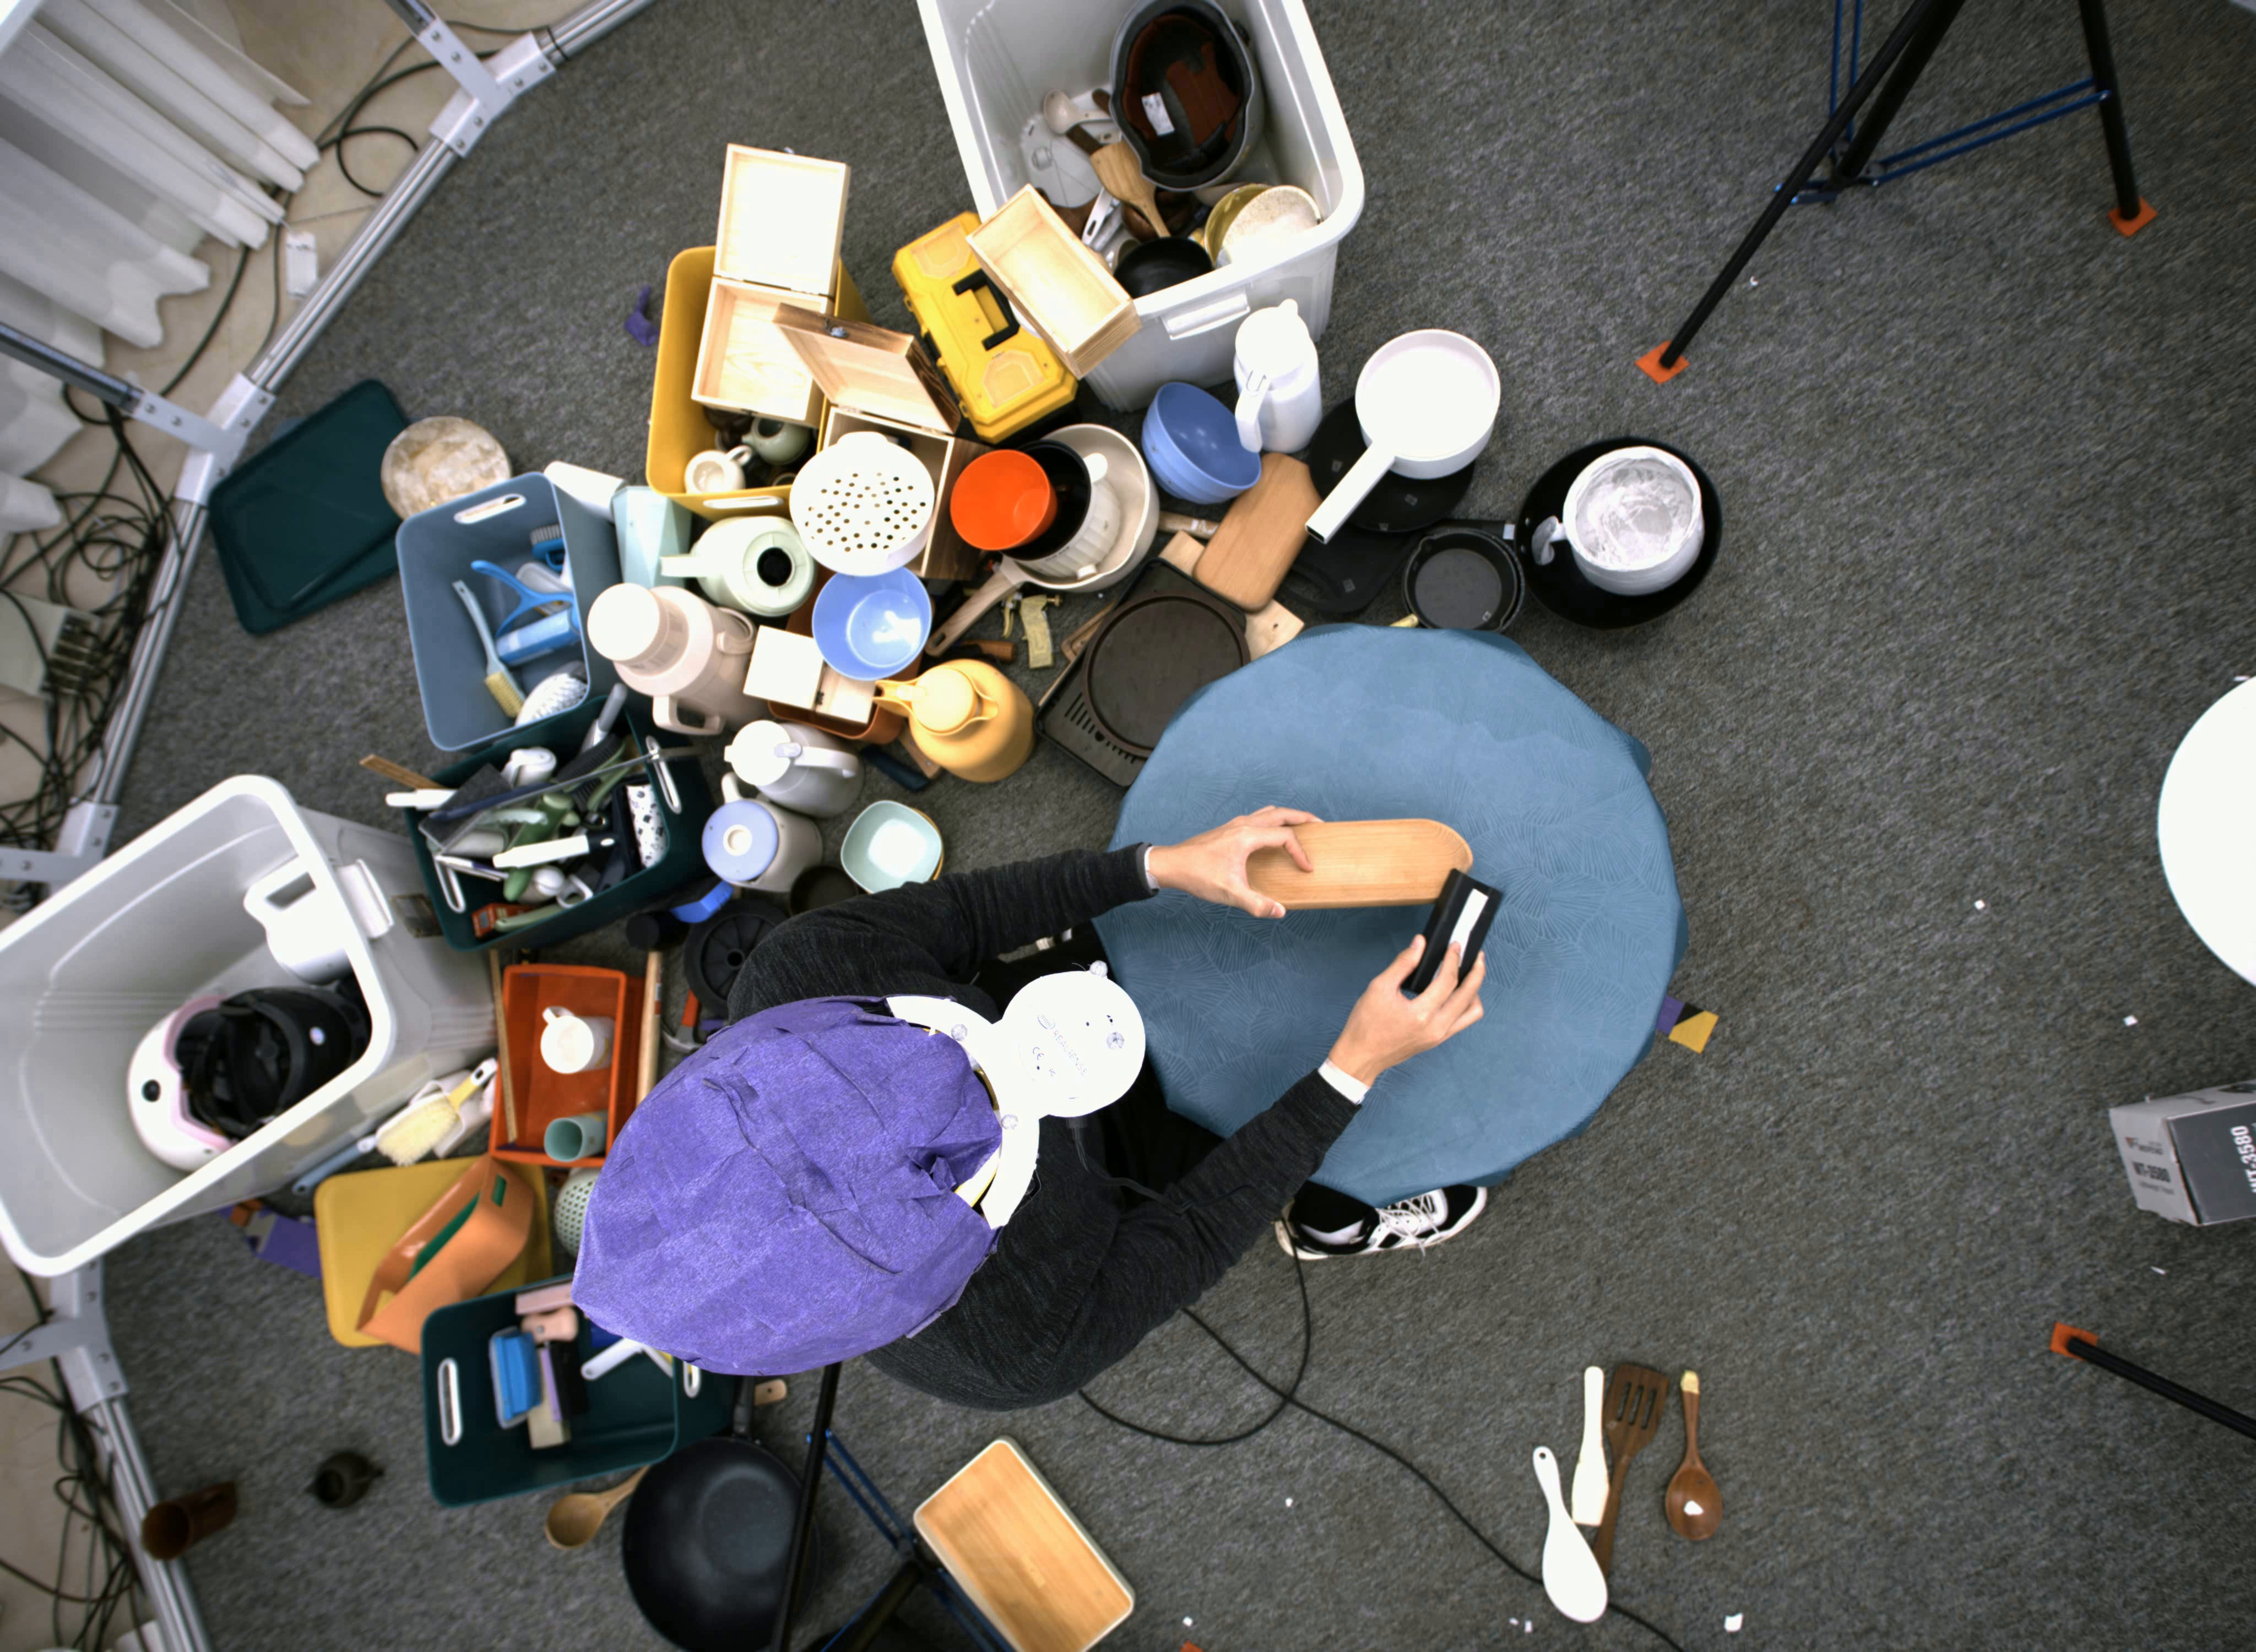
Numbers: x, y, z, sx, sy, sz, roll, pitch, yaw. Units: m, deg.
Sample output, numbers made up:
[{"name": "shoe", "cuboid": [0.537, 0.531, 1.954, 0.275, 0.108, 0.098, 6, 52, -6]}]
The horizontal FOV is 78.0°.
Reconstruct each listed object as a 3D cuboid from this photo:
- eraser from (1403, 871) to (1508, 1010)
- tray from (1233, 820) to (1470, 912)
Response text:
[{"name": "eraser", "cuboid": [0.311, 0.106, 1.311, 0.053, 0.030, 0.126, 23, 93, -8]}, {"name": "tray", "cuboid": [0.219, 0.039, 1.356, 0.232, 0.021, 0.099, -4, 49, 4]}]
